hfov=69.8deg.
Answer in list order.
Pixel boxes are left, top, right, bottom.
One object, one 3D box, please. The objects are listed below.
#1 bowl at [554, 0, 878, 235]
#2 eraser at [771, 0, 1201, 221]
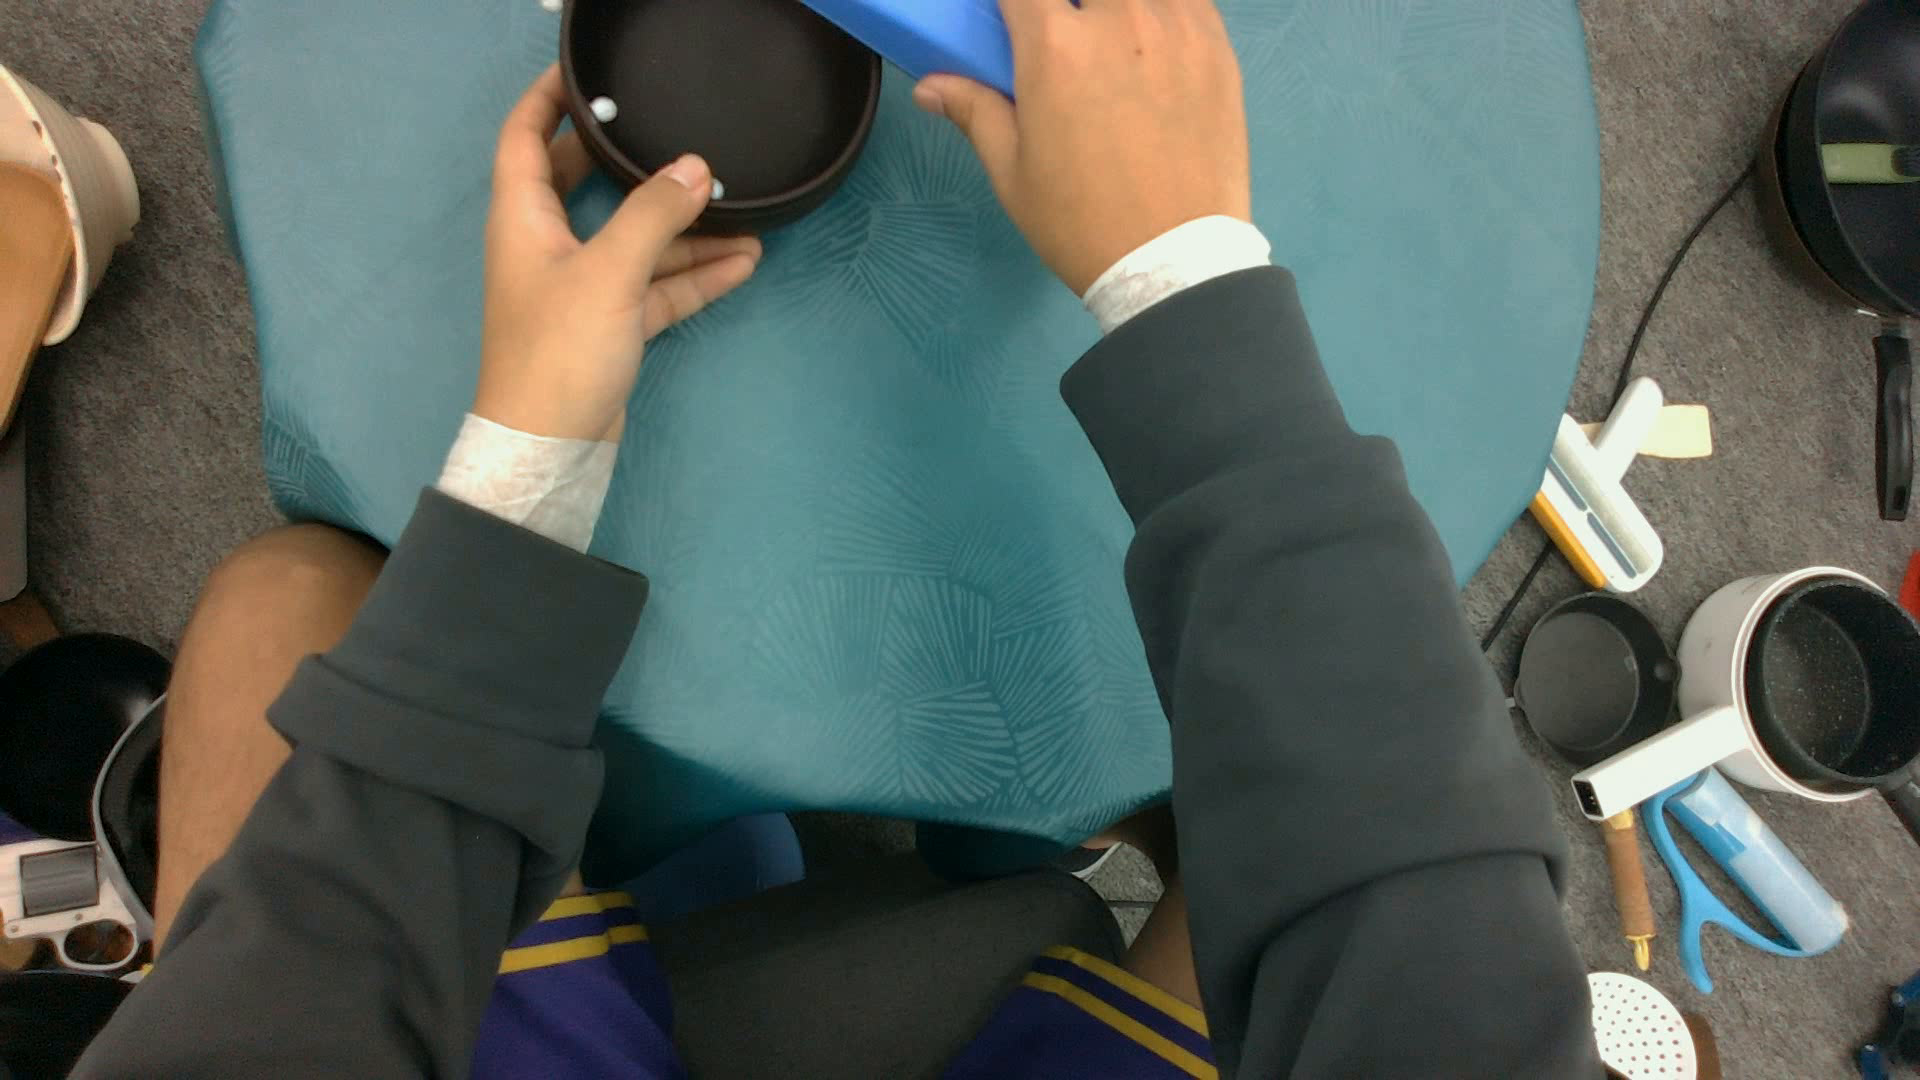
[{"bbox_3d":[-0.094,-0.173,0.528,0.118,0.070,0.118,1,86,-14],"label":"bowl"},{"bbox_3d":[0.013,-0.179,0.501,0.162,0.047,0.054,26,80,-15],"label":"eraser"}]
